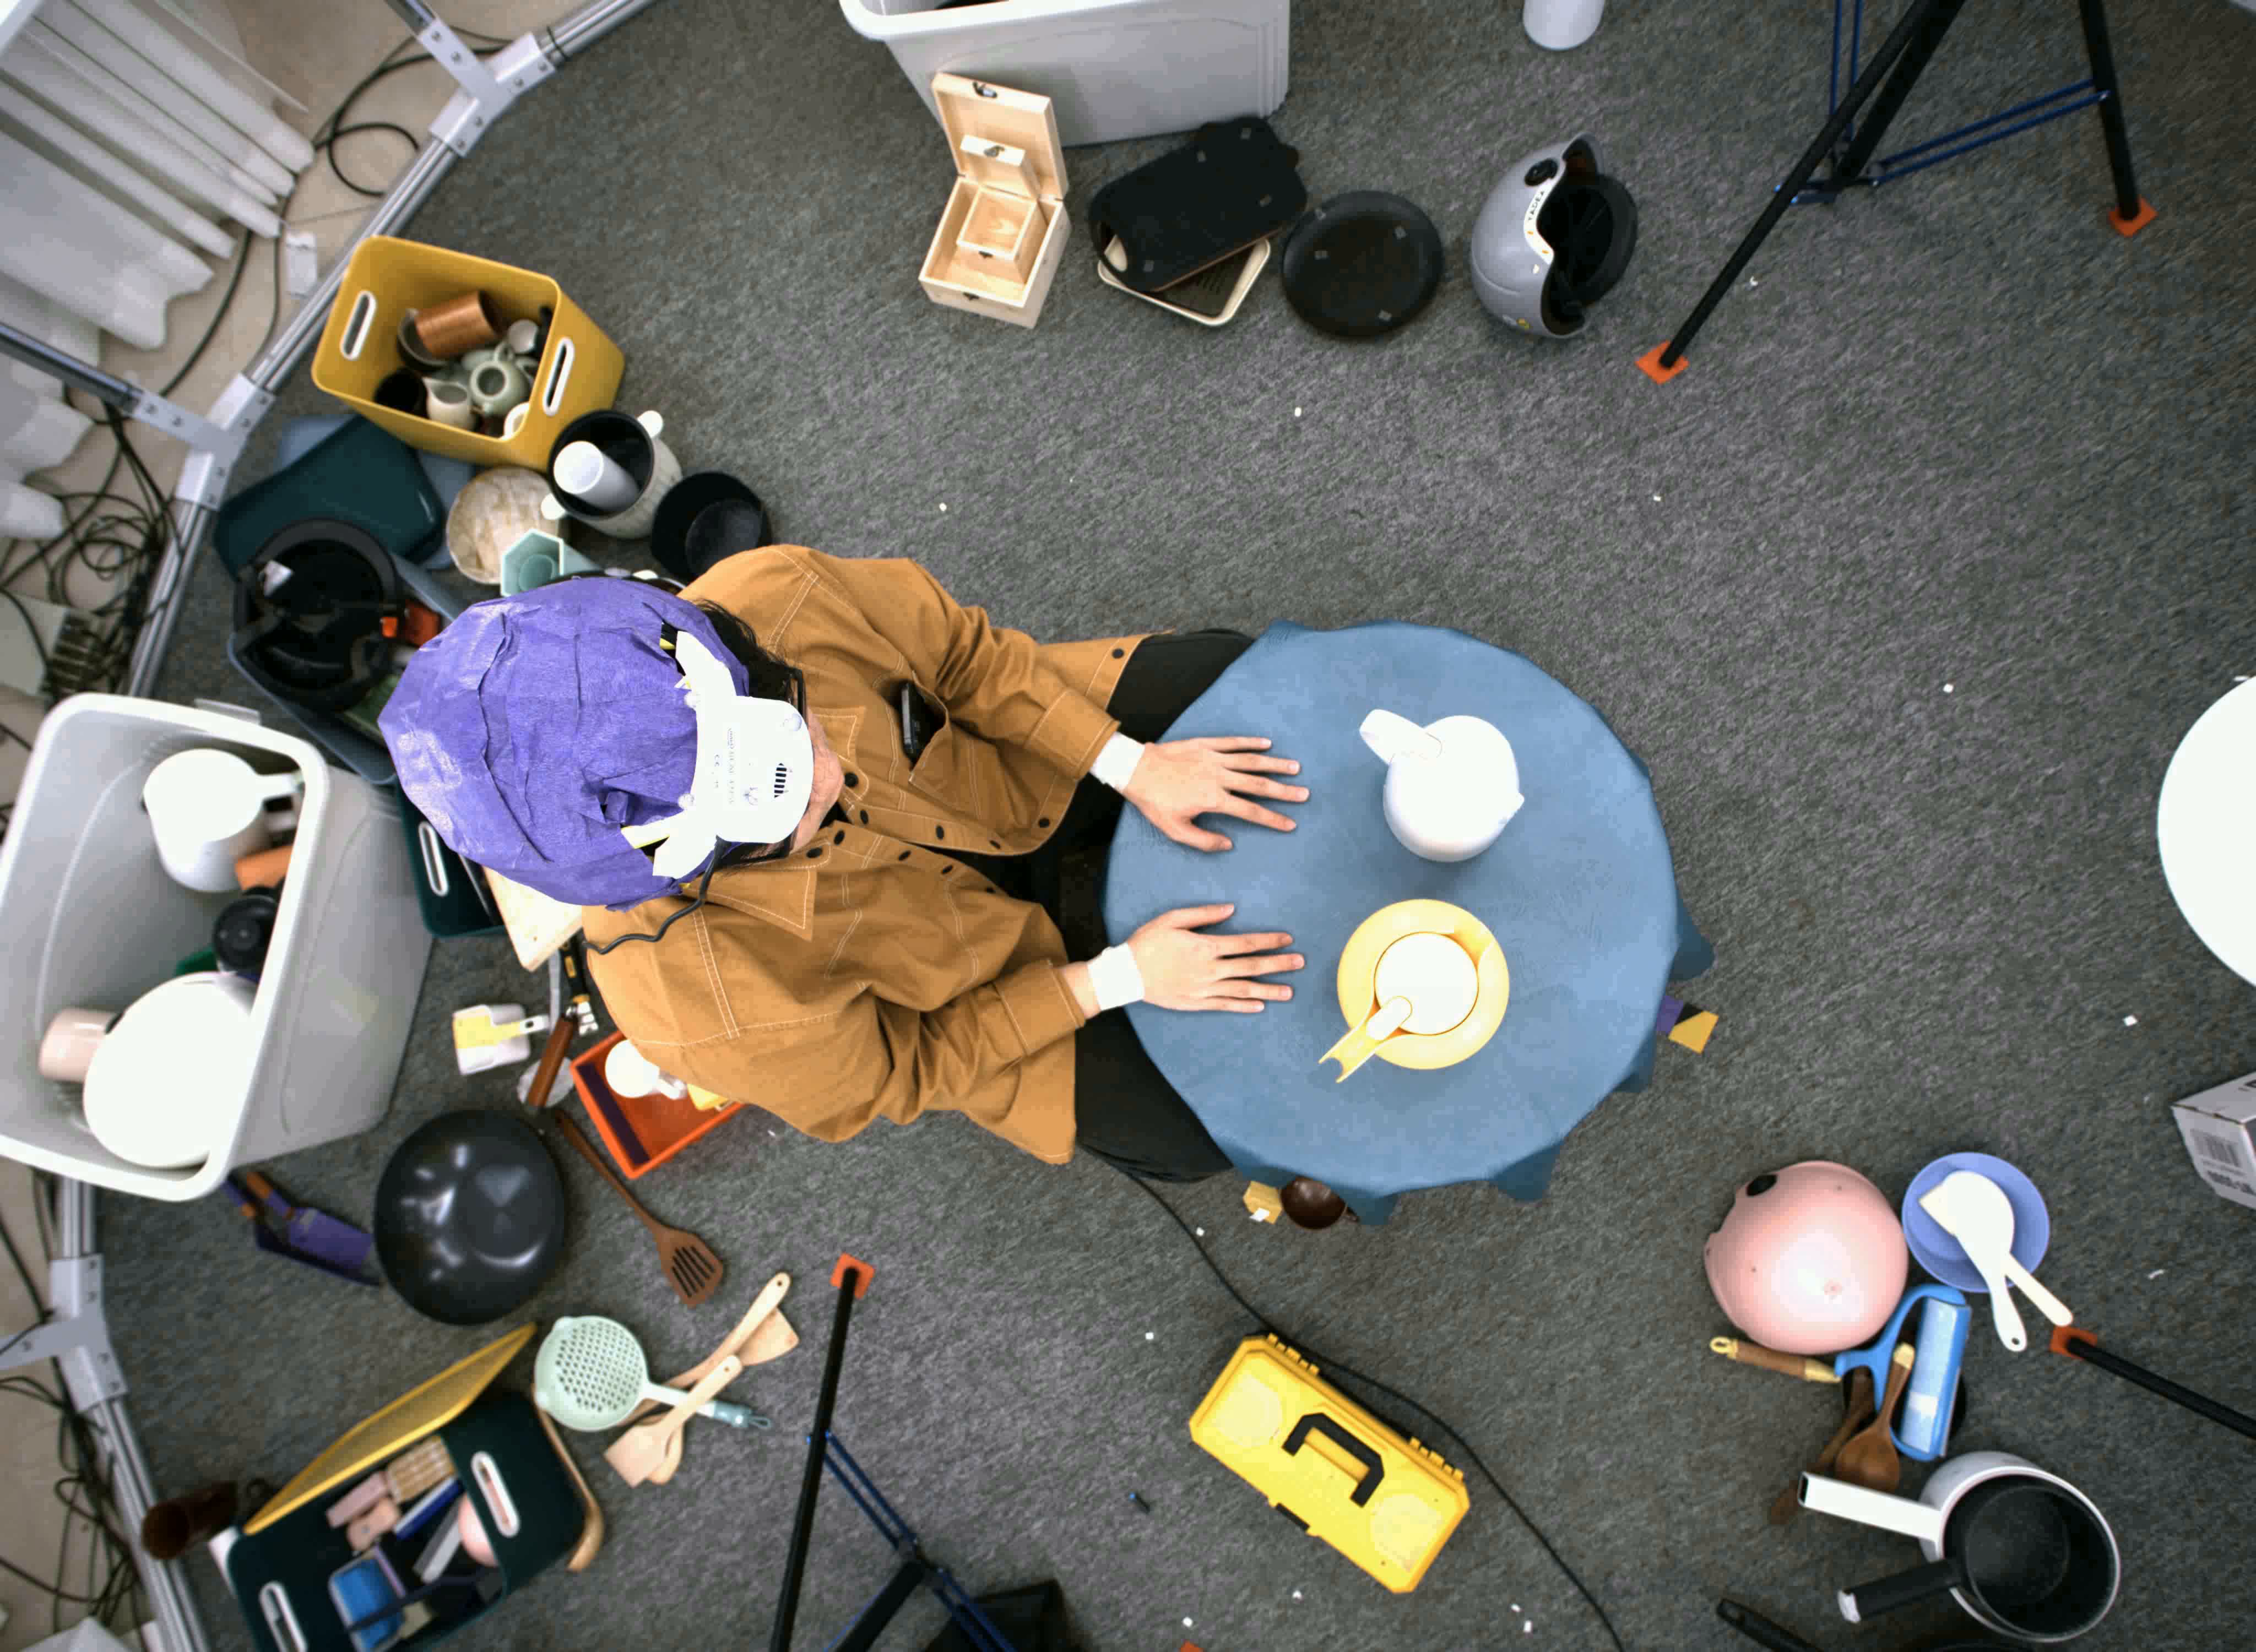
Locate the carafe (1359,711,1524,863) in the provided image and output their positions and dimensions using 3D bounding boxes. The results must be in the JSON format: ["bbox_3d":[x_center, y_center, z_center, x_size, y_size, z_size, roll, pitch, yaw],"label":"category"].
[{"bbox_3d":[0.299,-0.051,1.336,0.167,0.249,0.133,34,92,12],"label":"carafe"}]

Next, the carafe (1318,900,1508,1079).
[{"bbox_3d":[0.265,0.162,1.326,0.203,0.261,0.162,-41,78,3],"label":"carafe"}]
